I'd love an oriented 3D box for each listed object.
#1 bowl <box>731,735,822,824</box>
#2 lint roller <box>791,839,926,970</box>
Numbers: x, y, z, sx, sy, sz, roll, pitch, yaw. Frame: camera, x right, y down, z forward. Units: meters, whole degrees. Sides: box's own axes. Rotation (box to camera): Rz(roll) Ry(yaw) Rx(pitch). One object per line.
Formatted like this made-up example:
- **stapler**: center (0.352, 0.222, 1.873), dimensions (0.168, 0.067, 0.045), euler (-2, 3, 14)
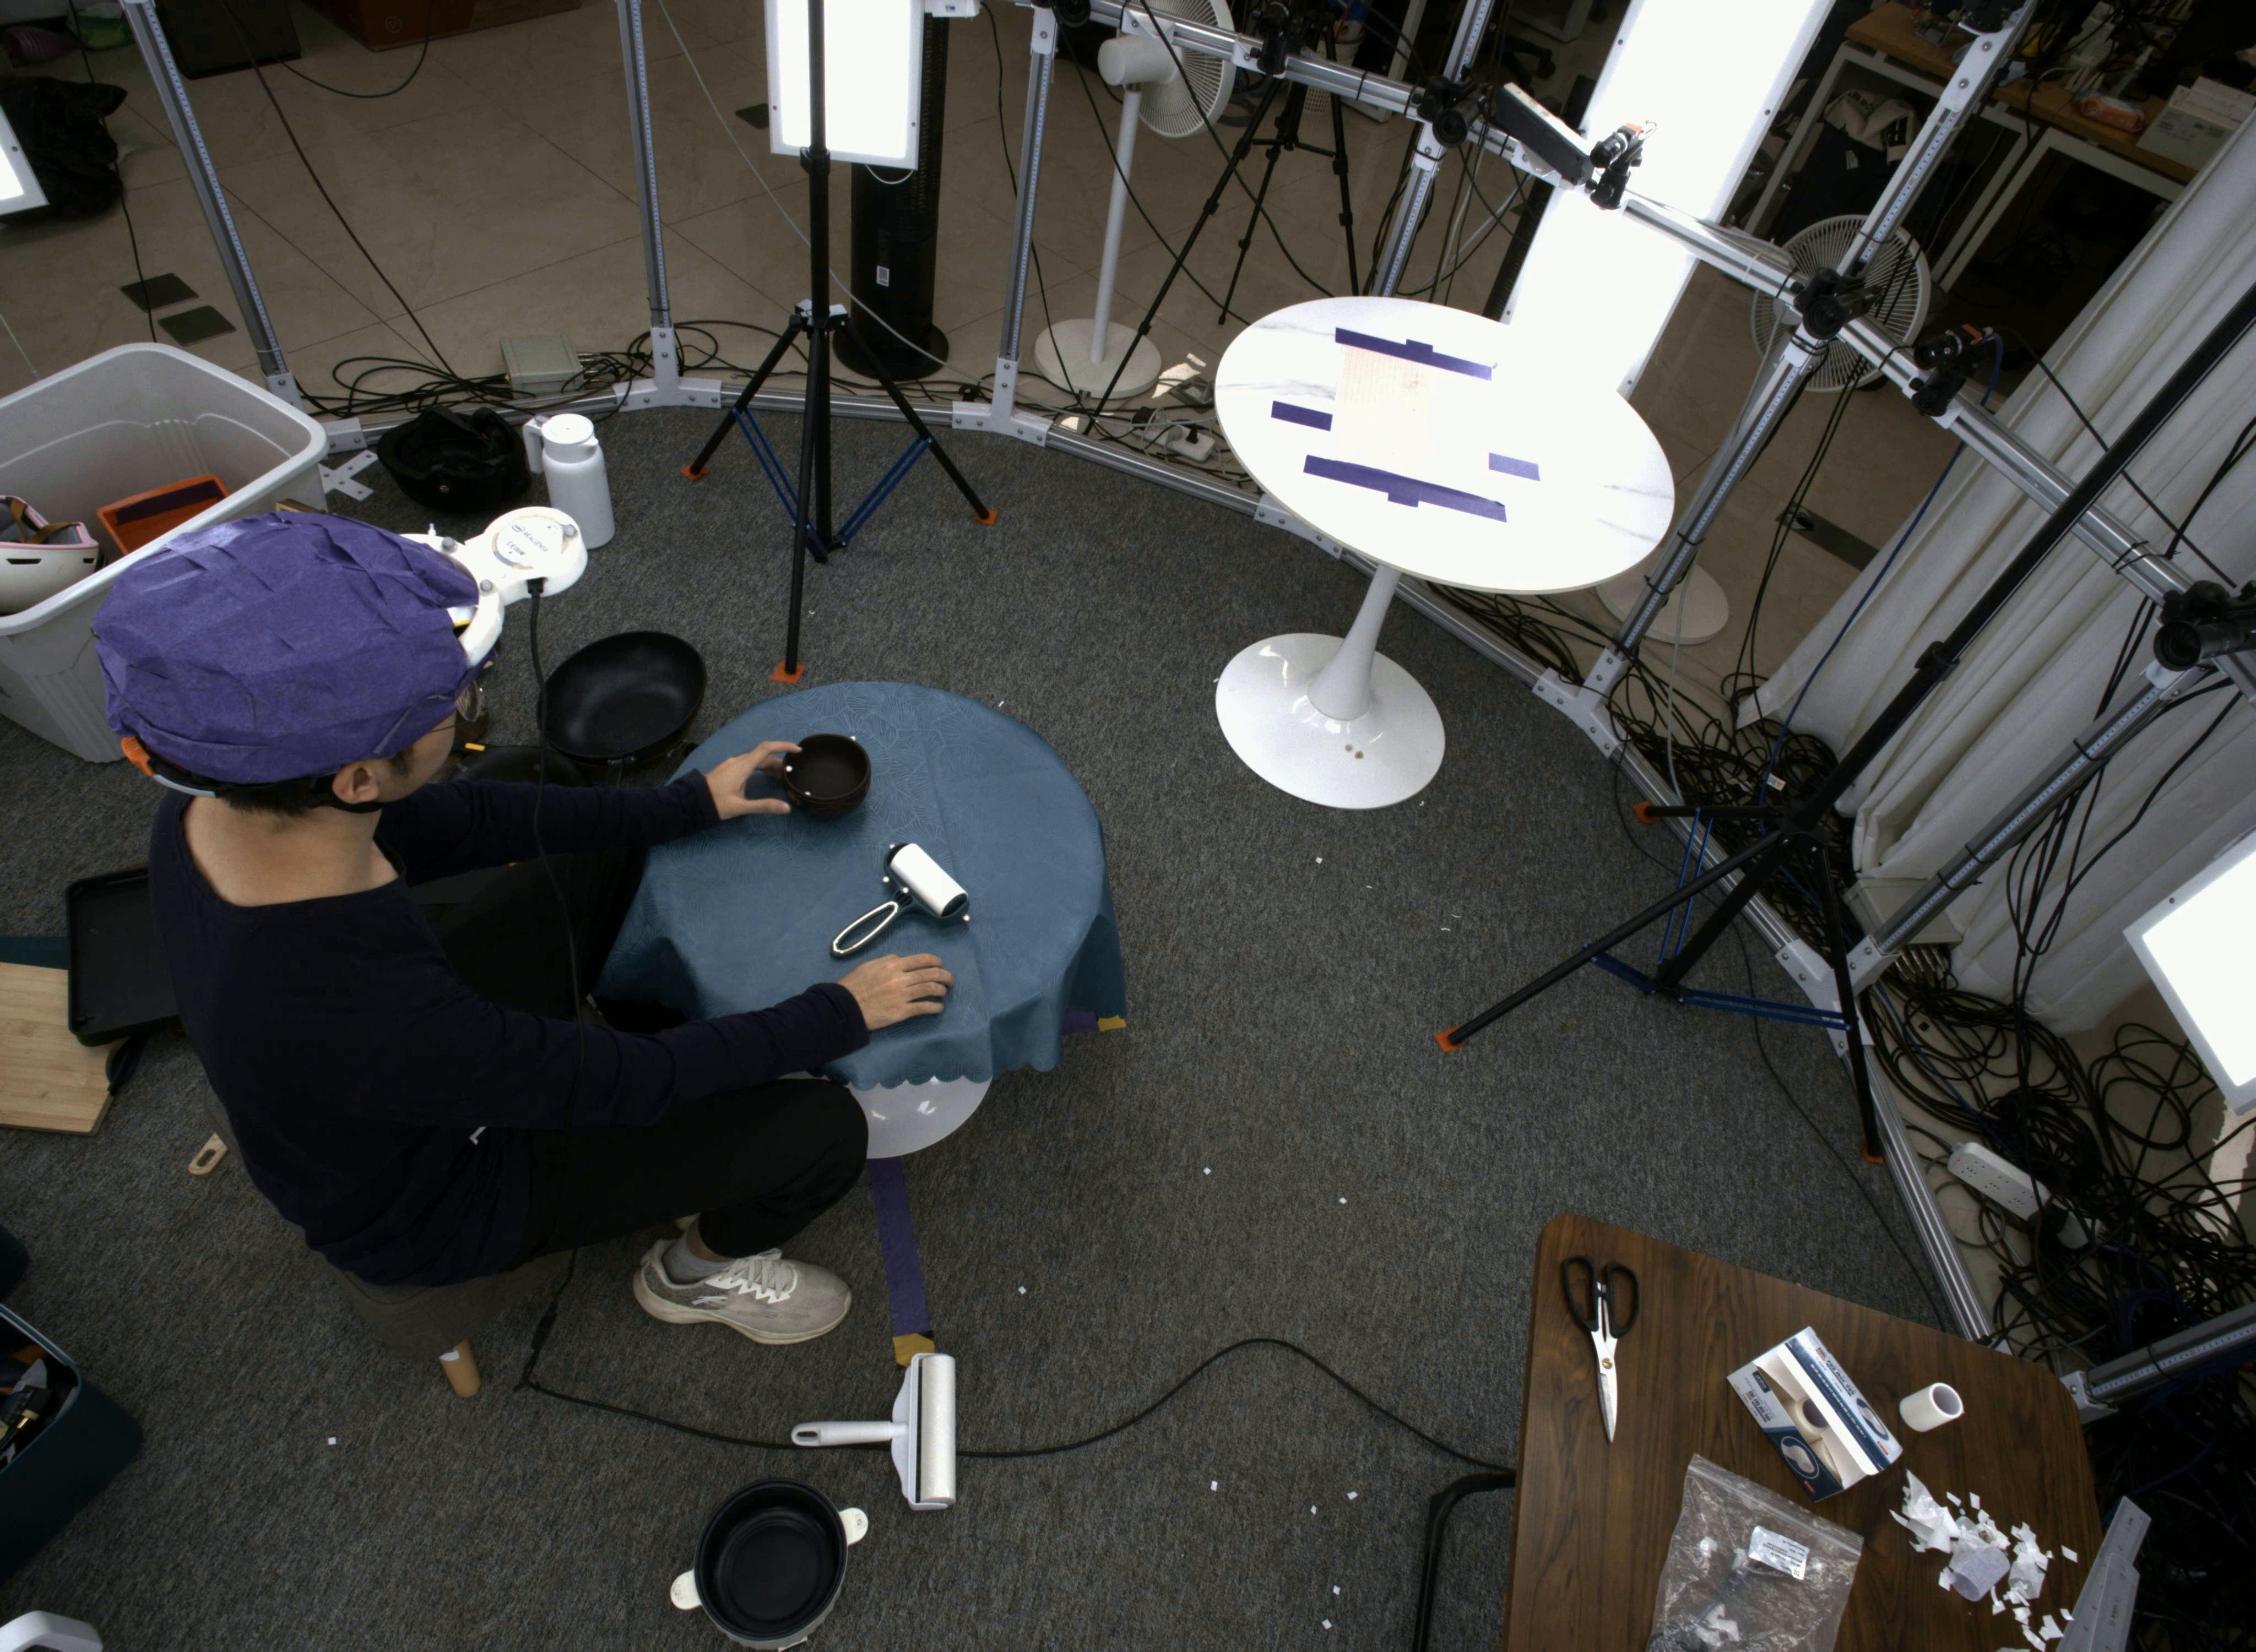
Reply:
- **bowl**: center (-0.465, -0.055, 1.718), dimensions (0.118, 0.071, 0.116), euler (7, 55, -8)
- **lint roller**: center (-0.357, 0.111, 1.644), dimensions (0.131, 0.049, 0.180), euler (39, 57, 16)
